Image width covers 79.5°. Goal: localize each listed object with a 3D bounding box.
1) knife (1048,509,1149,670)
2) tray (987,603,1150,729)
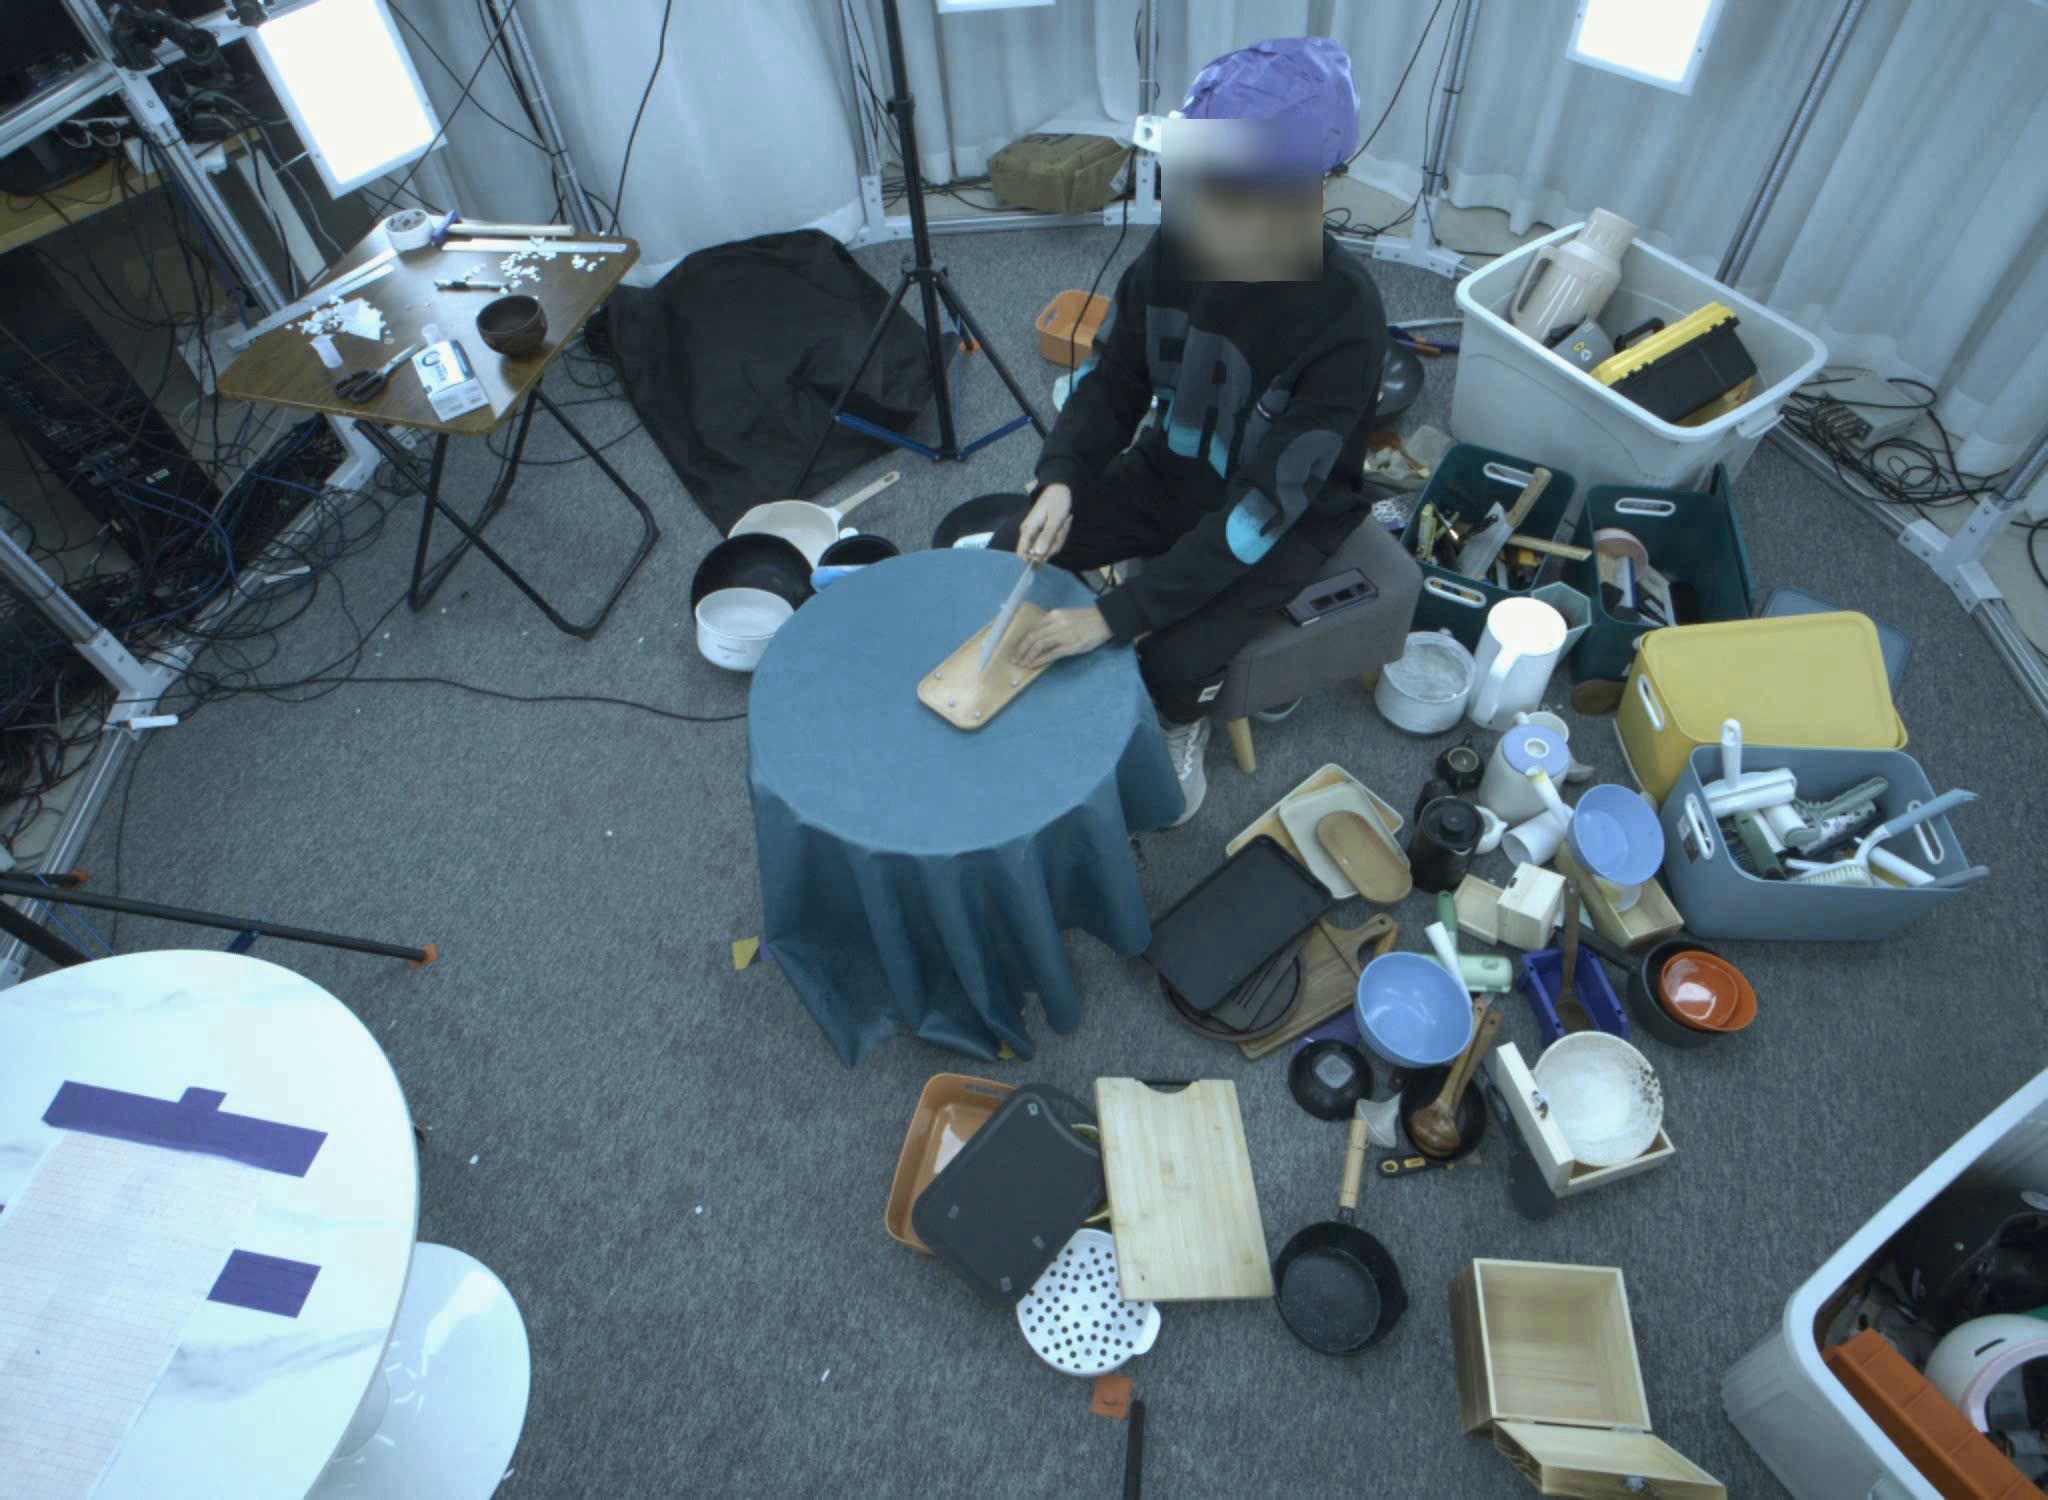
[{"bbox_3d":[0.111,-0.242,1.868,0.021,0.093,0.306,28,63,9],"label":"knife"},{"bbox_3d":[0.068,-0.129,1.866,0.252,0.023,0.128,-37,63,-22],"label":"tray"}]
